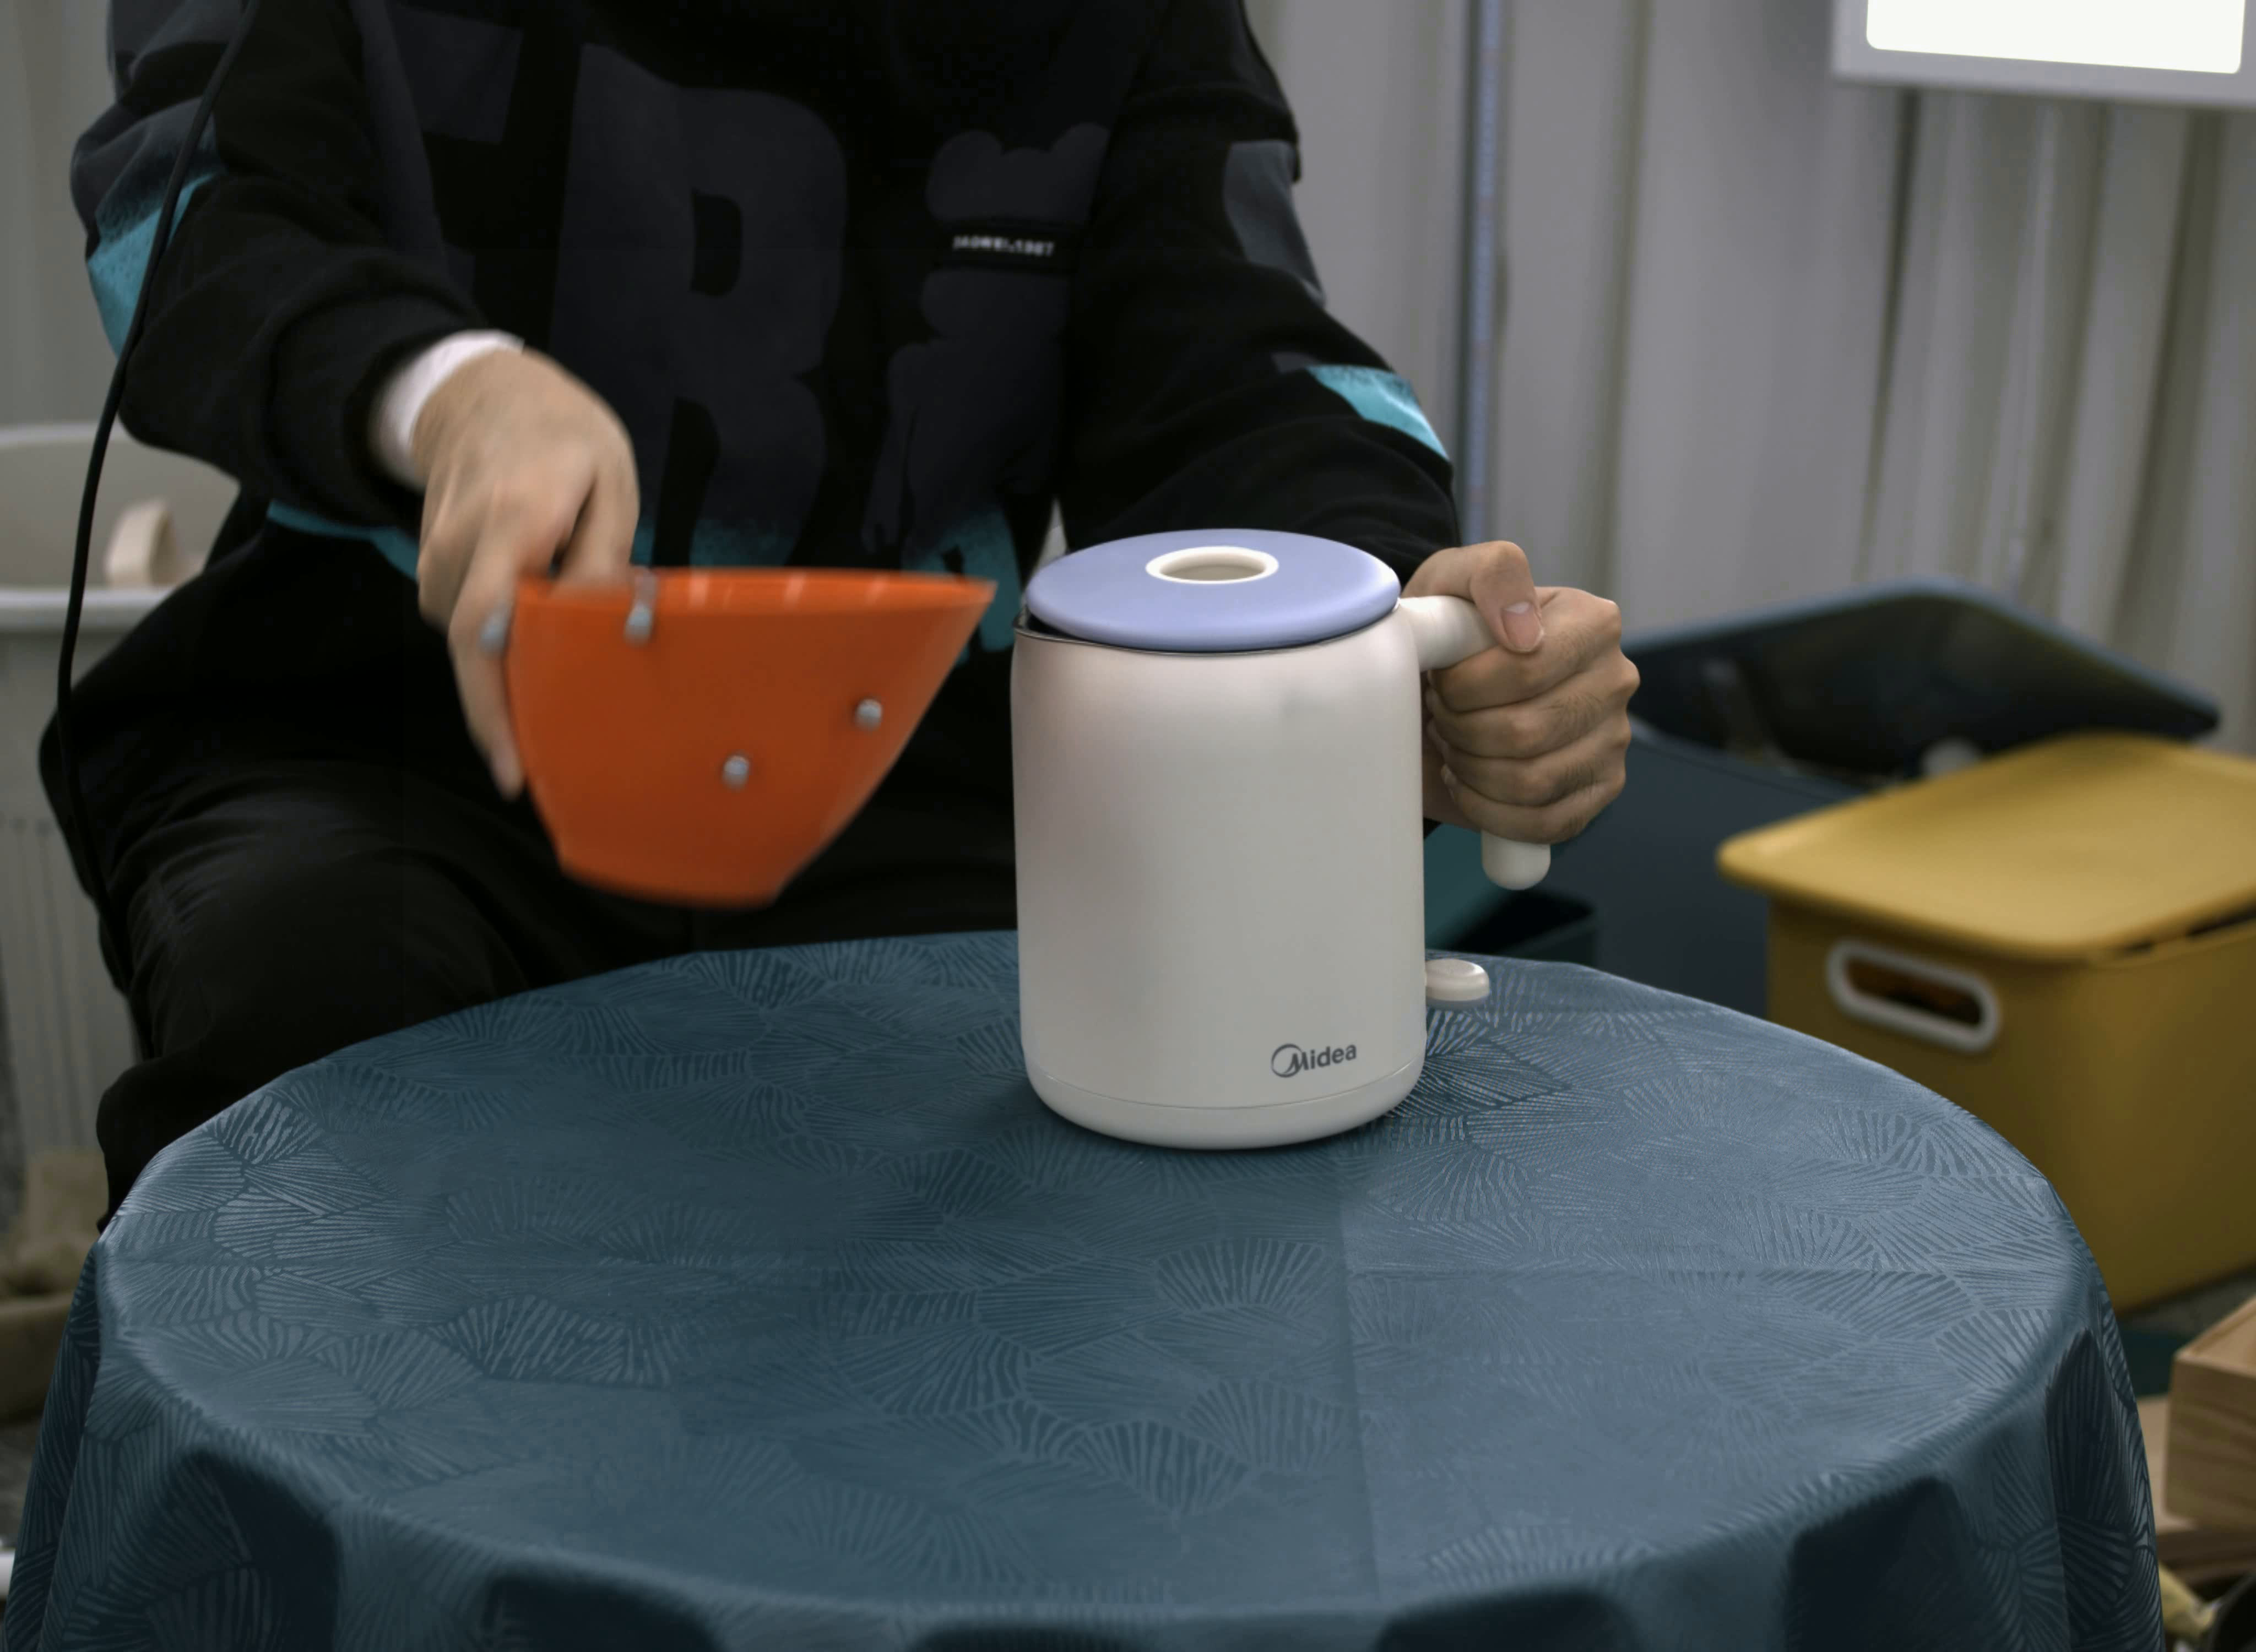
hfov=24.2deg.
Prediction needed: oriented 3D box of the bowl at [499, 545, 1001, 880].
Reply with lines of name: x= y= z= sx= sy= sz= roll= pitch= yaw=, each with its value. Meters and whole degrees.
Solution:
bowl: x=-0.119 y=-0.039 z=1.562 sx=0.147 sy=0.105 sz=0.147 roll=11 pitch=8 yaw=-1

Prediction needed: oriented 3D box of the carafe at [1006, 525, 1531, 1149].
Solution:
carafe: x=0.049 y=-0.001 z=1.693 sx=0.192 sy=0.184 sz=0.130 roll=-8 pitch=21 yaw=-27
